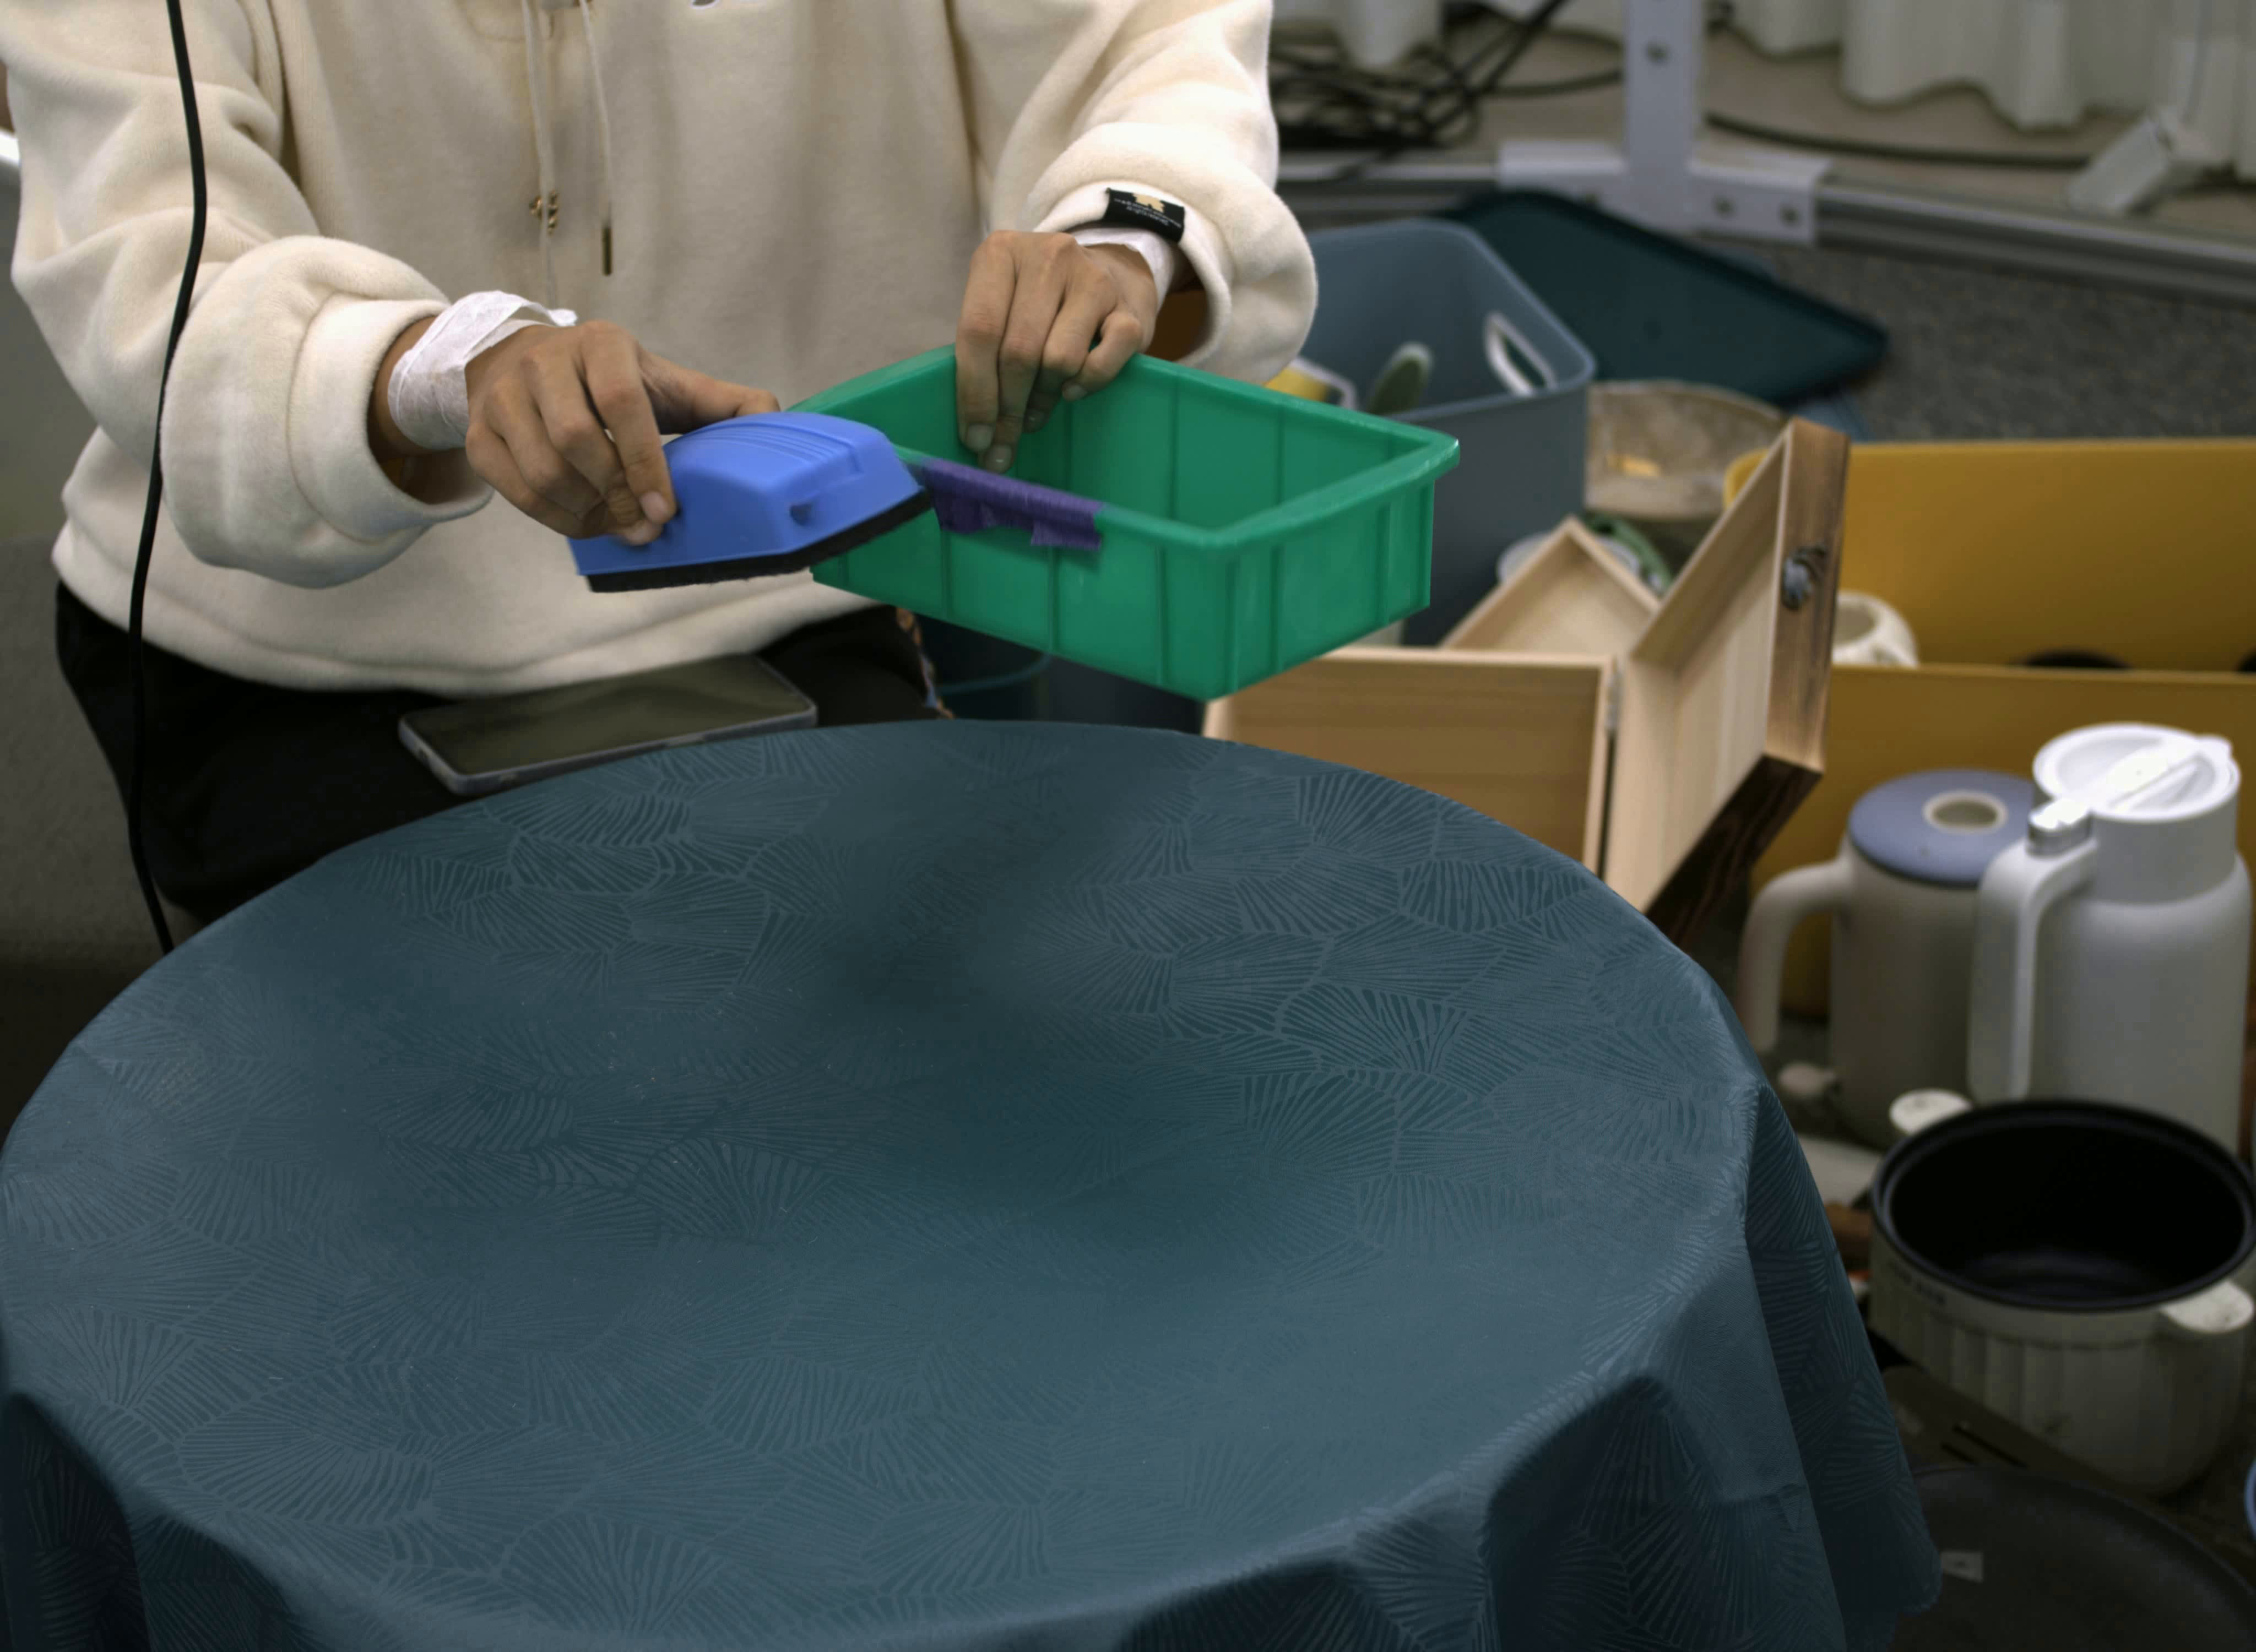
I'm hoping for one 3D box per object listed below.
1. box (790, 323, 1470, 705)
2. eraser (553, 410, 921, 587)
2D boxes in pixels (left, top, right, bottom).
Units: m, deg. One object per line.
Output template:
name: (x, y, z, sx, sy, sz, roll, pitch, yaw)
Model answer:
box: (0.000, -0.106, 1.915, 0.210, 0.064, 0.140, 19, 30, 34)
eraser: (-0.135, -0.112, 1.901, 0.054, 0.047, 0.161, -26, 14, -33)
